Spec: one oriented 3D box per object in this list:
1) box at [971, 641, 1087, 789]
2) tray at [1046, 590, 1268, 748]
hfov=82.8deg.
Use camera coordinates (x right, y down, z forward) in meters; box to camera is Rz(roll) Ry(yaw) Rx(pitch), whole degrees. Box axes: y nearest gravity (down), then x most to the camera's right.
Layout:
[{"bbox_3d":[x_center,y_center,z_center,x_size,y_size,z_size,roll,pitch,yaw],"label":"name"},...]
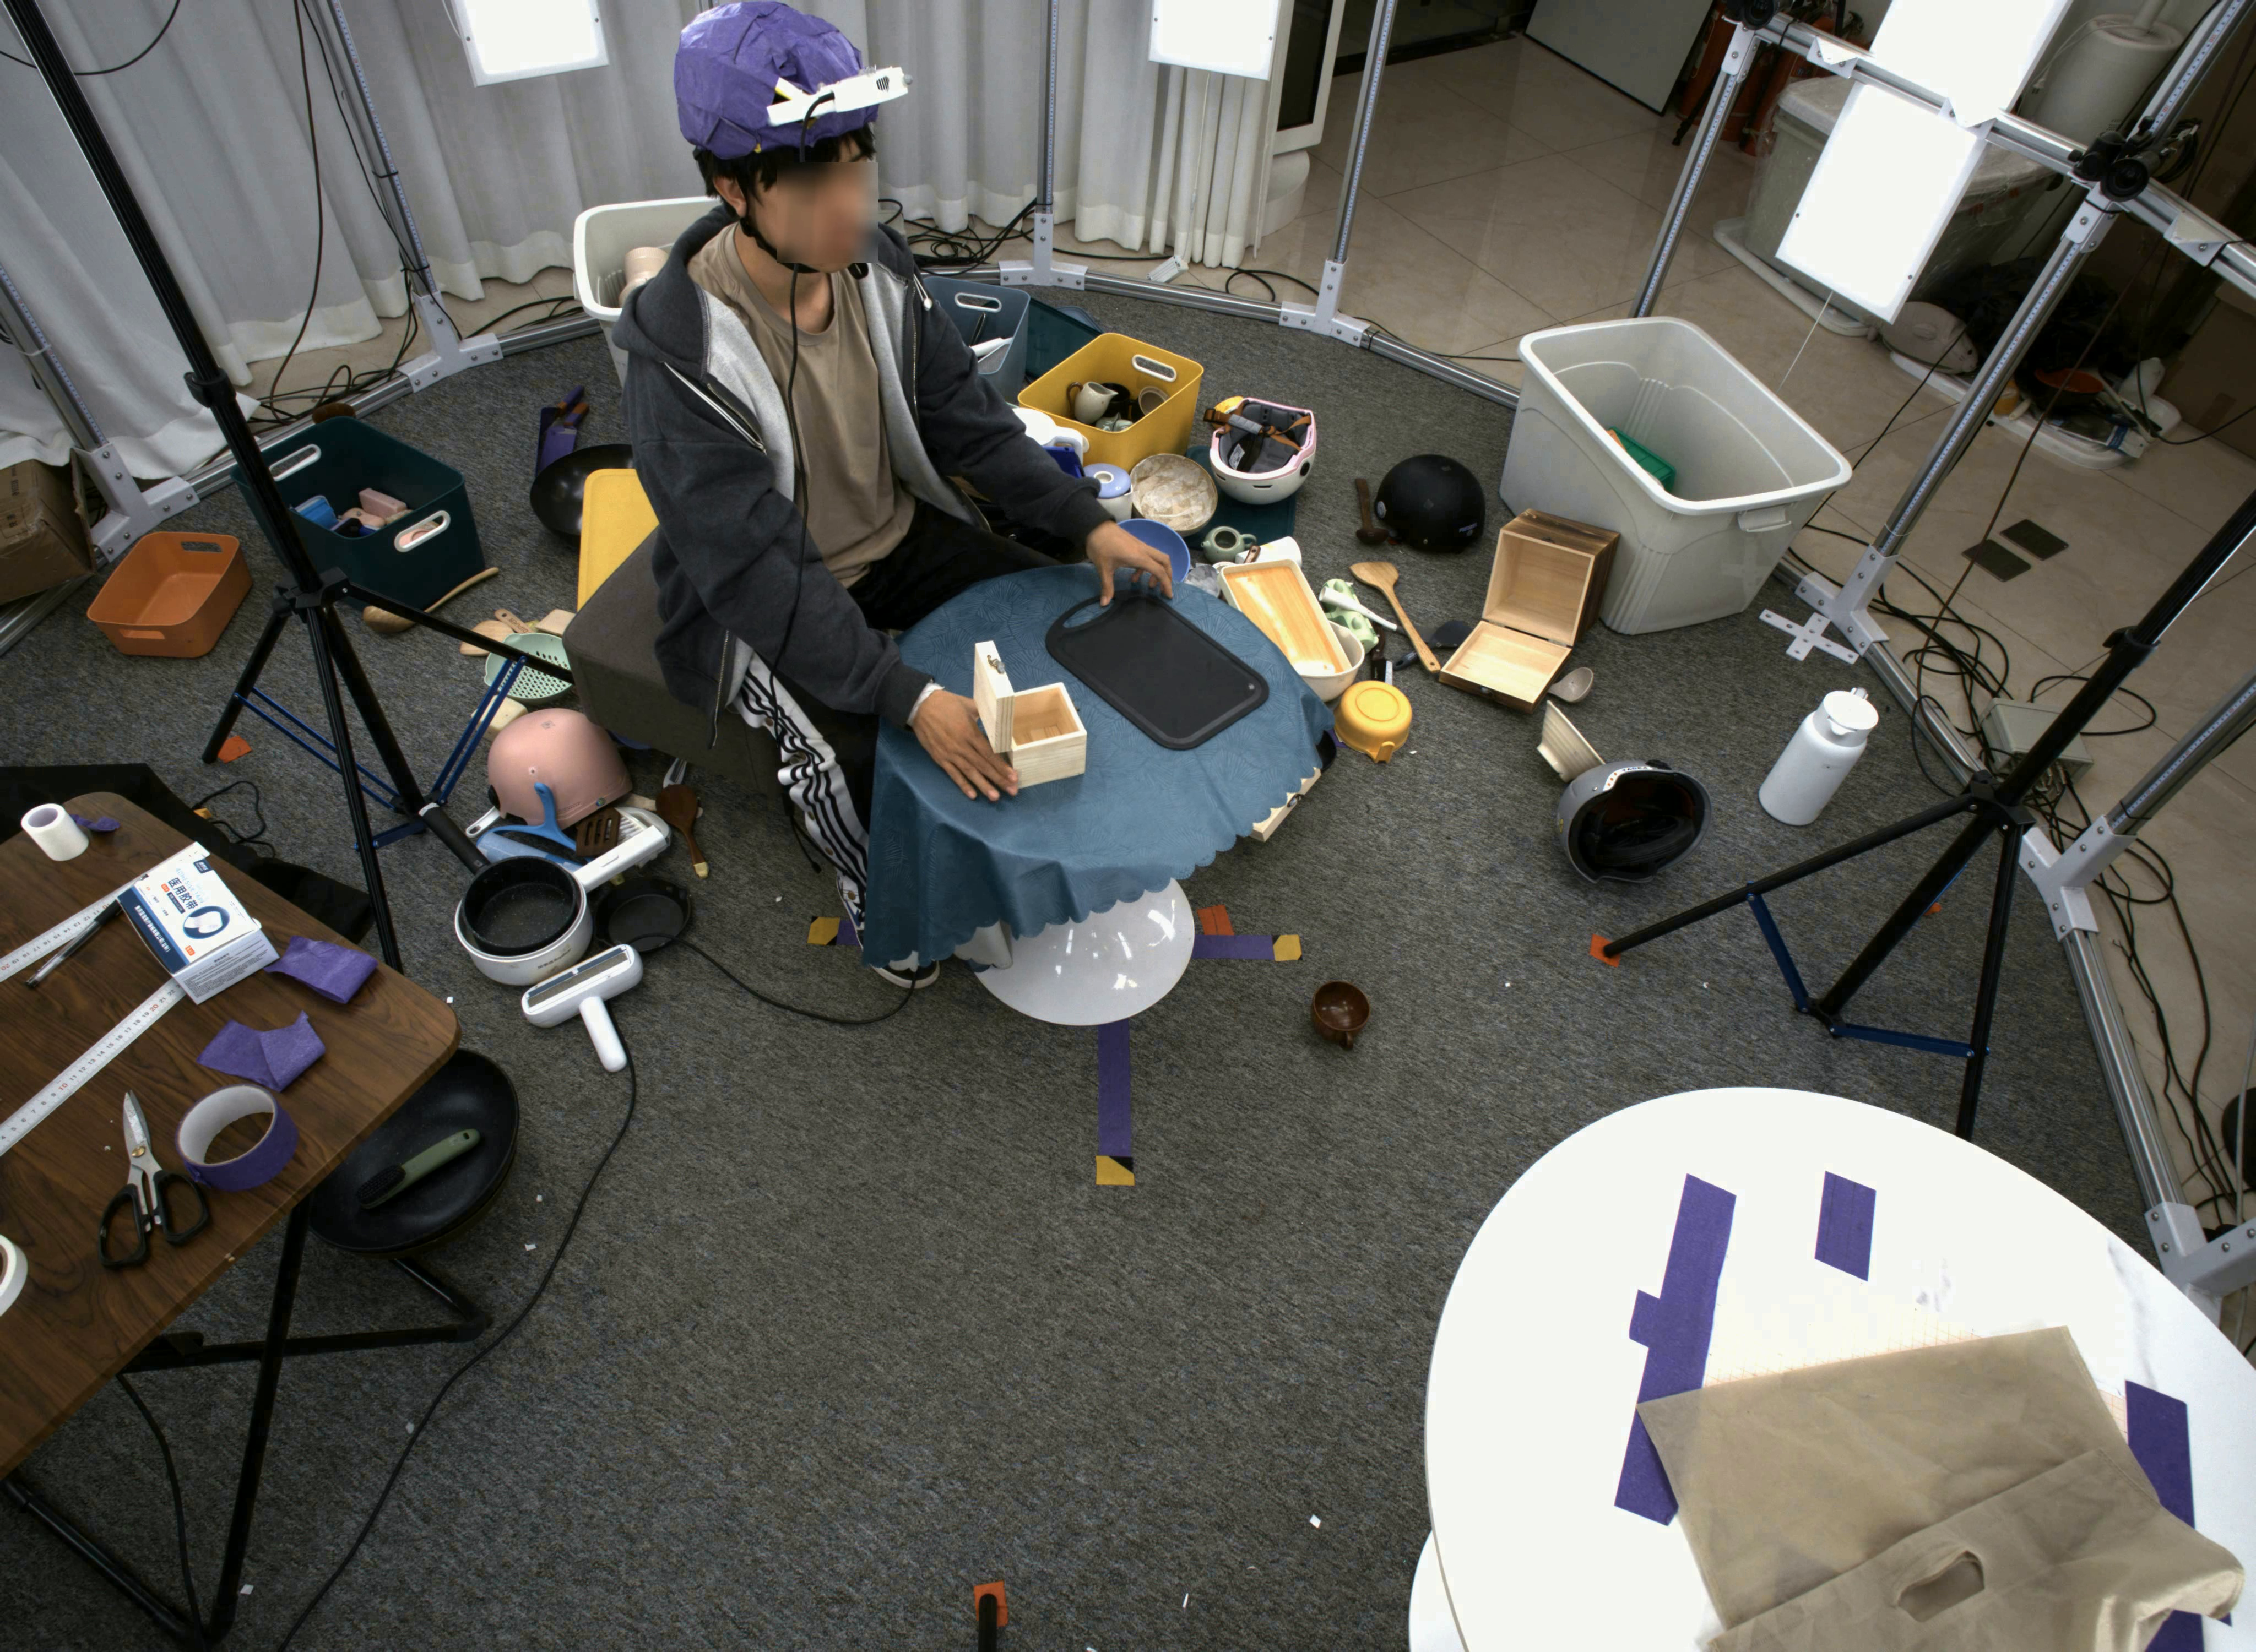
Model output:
[{"bbox_3d":[-0.126,-0.152,1.670,0.134,0.180,0.105,-15,52,-14],"label":"box"},{"bbox_3d":[0.034,-0.240,1.873,0.212,0.009,0.331,-32,58,-28],"label":"tray"}]
